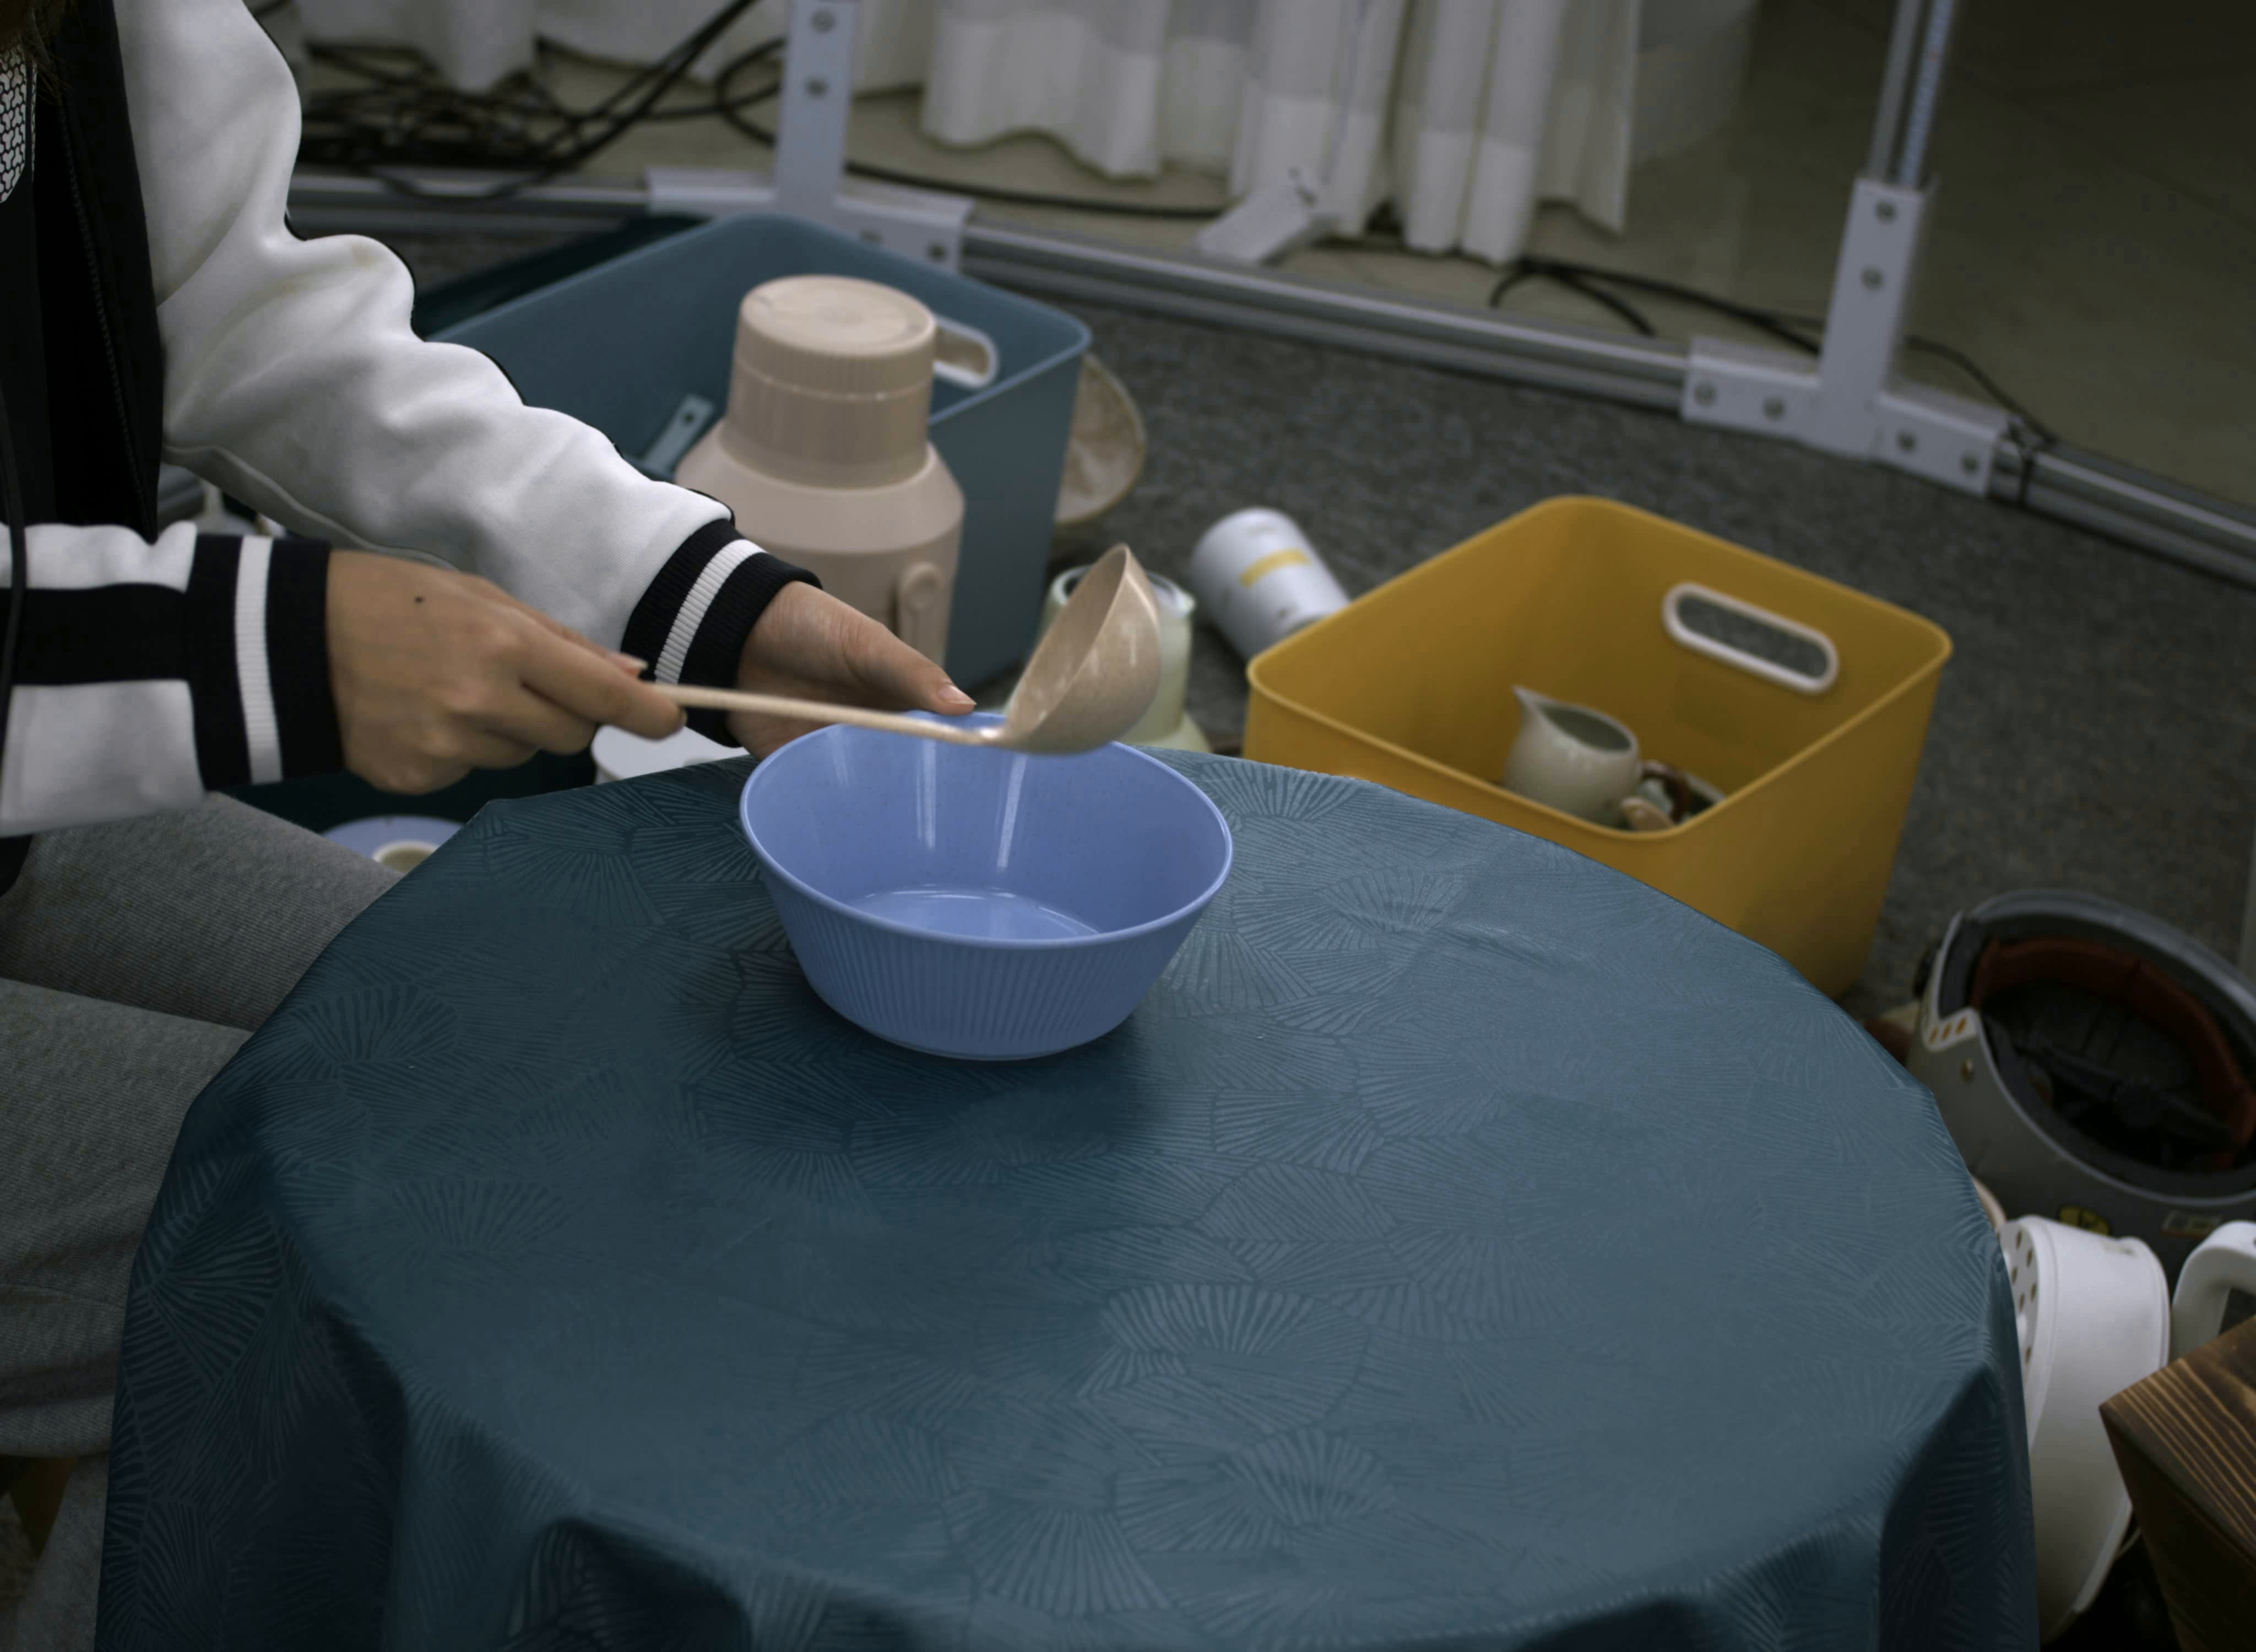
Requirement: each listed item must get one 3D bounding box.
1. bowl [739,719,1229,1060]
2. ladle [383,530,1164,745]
[{"bbox_3d":[-0.054,0.028,1.900,0.175,0.070,0.177,6,26,-3],"label":"bowl"},{"bbox_3d":[-0.114,-0.068,1.735,0.253,0.073,0.072,3,8,-15],"label":"ladle"}]
